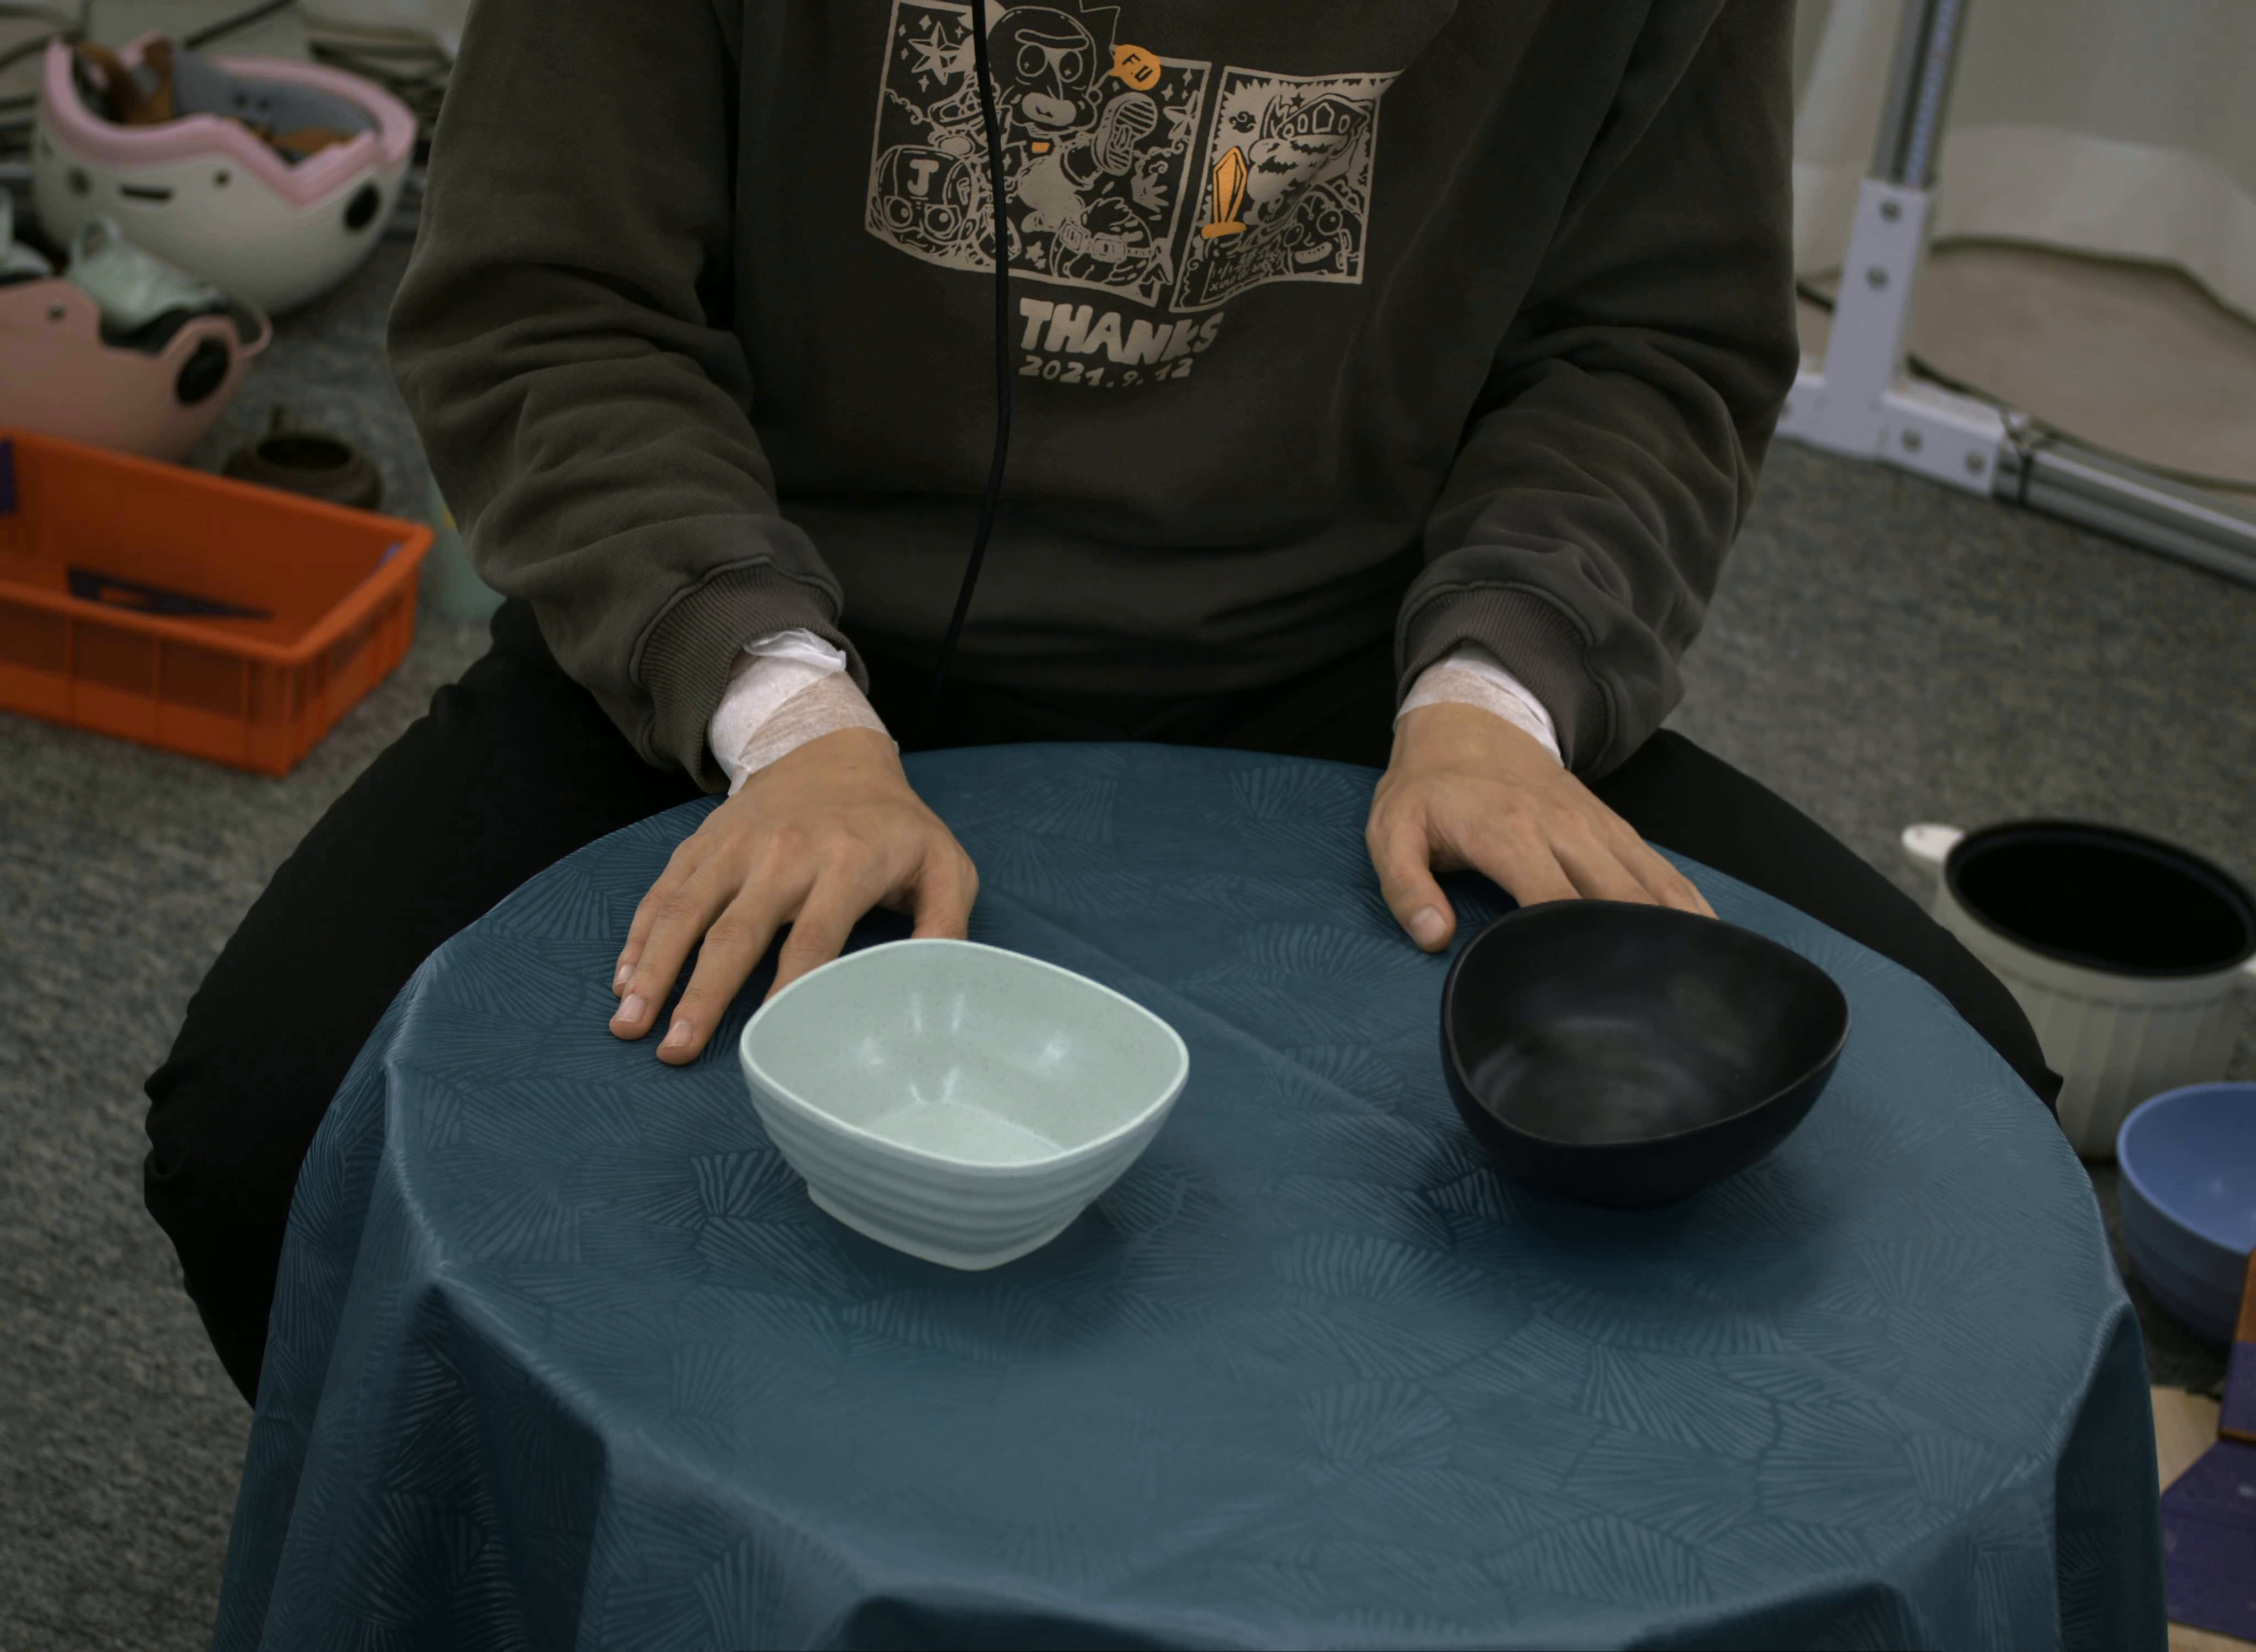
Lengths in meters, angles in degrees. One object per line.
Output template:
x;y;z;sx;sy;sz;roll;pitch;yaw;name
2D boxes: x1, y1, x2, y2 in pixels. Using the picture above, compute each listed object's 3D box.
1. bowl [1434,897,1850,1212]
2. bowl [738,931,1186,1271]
0.174;0.089;1.842;0.138;0.066;0.170;18;30;22;bowl
-0.058;0.098;1.778;0.151;0.058;0.152;6;28;-4;bowl
